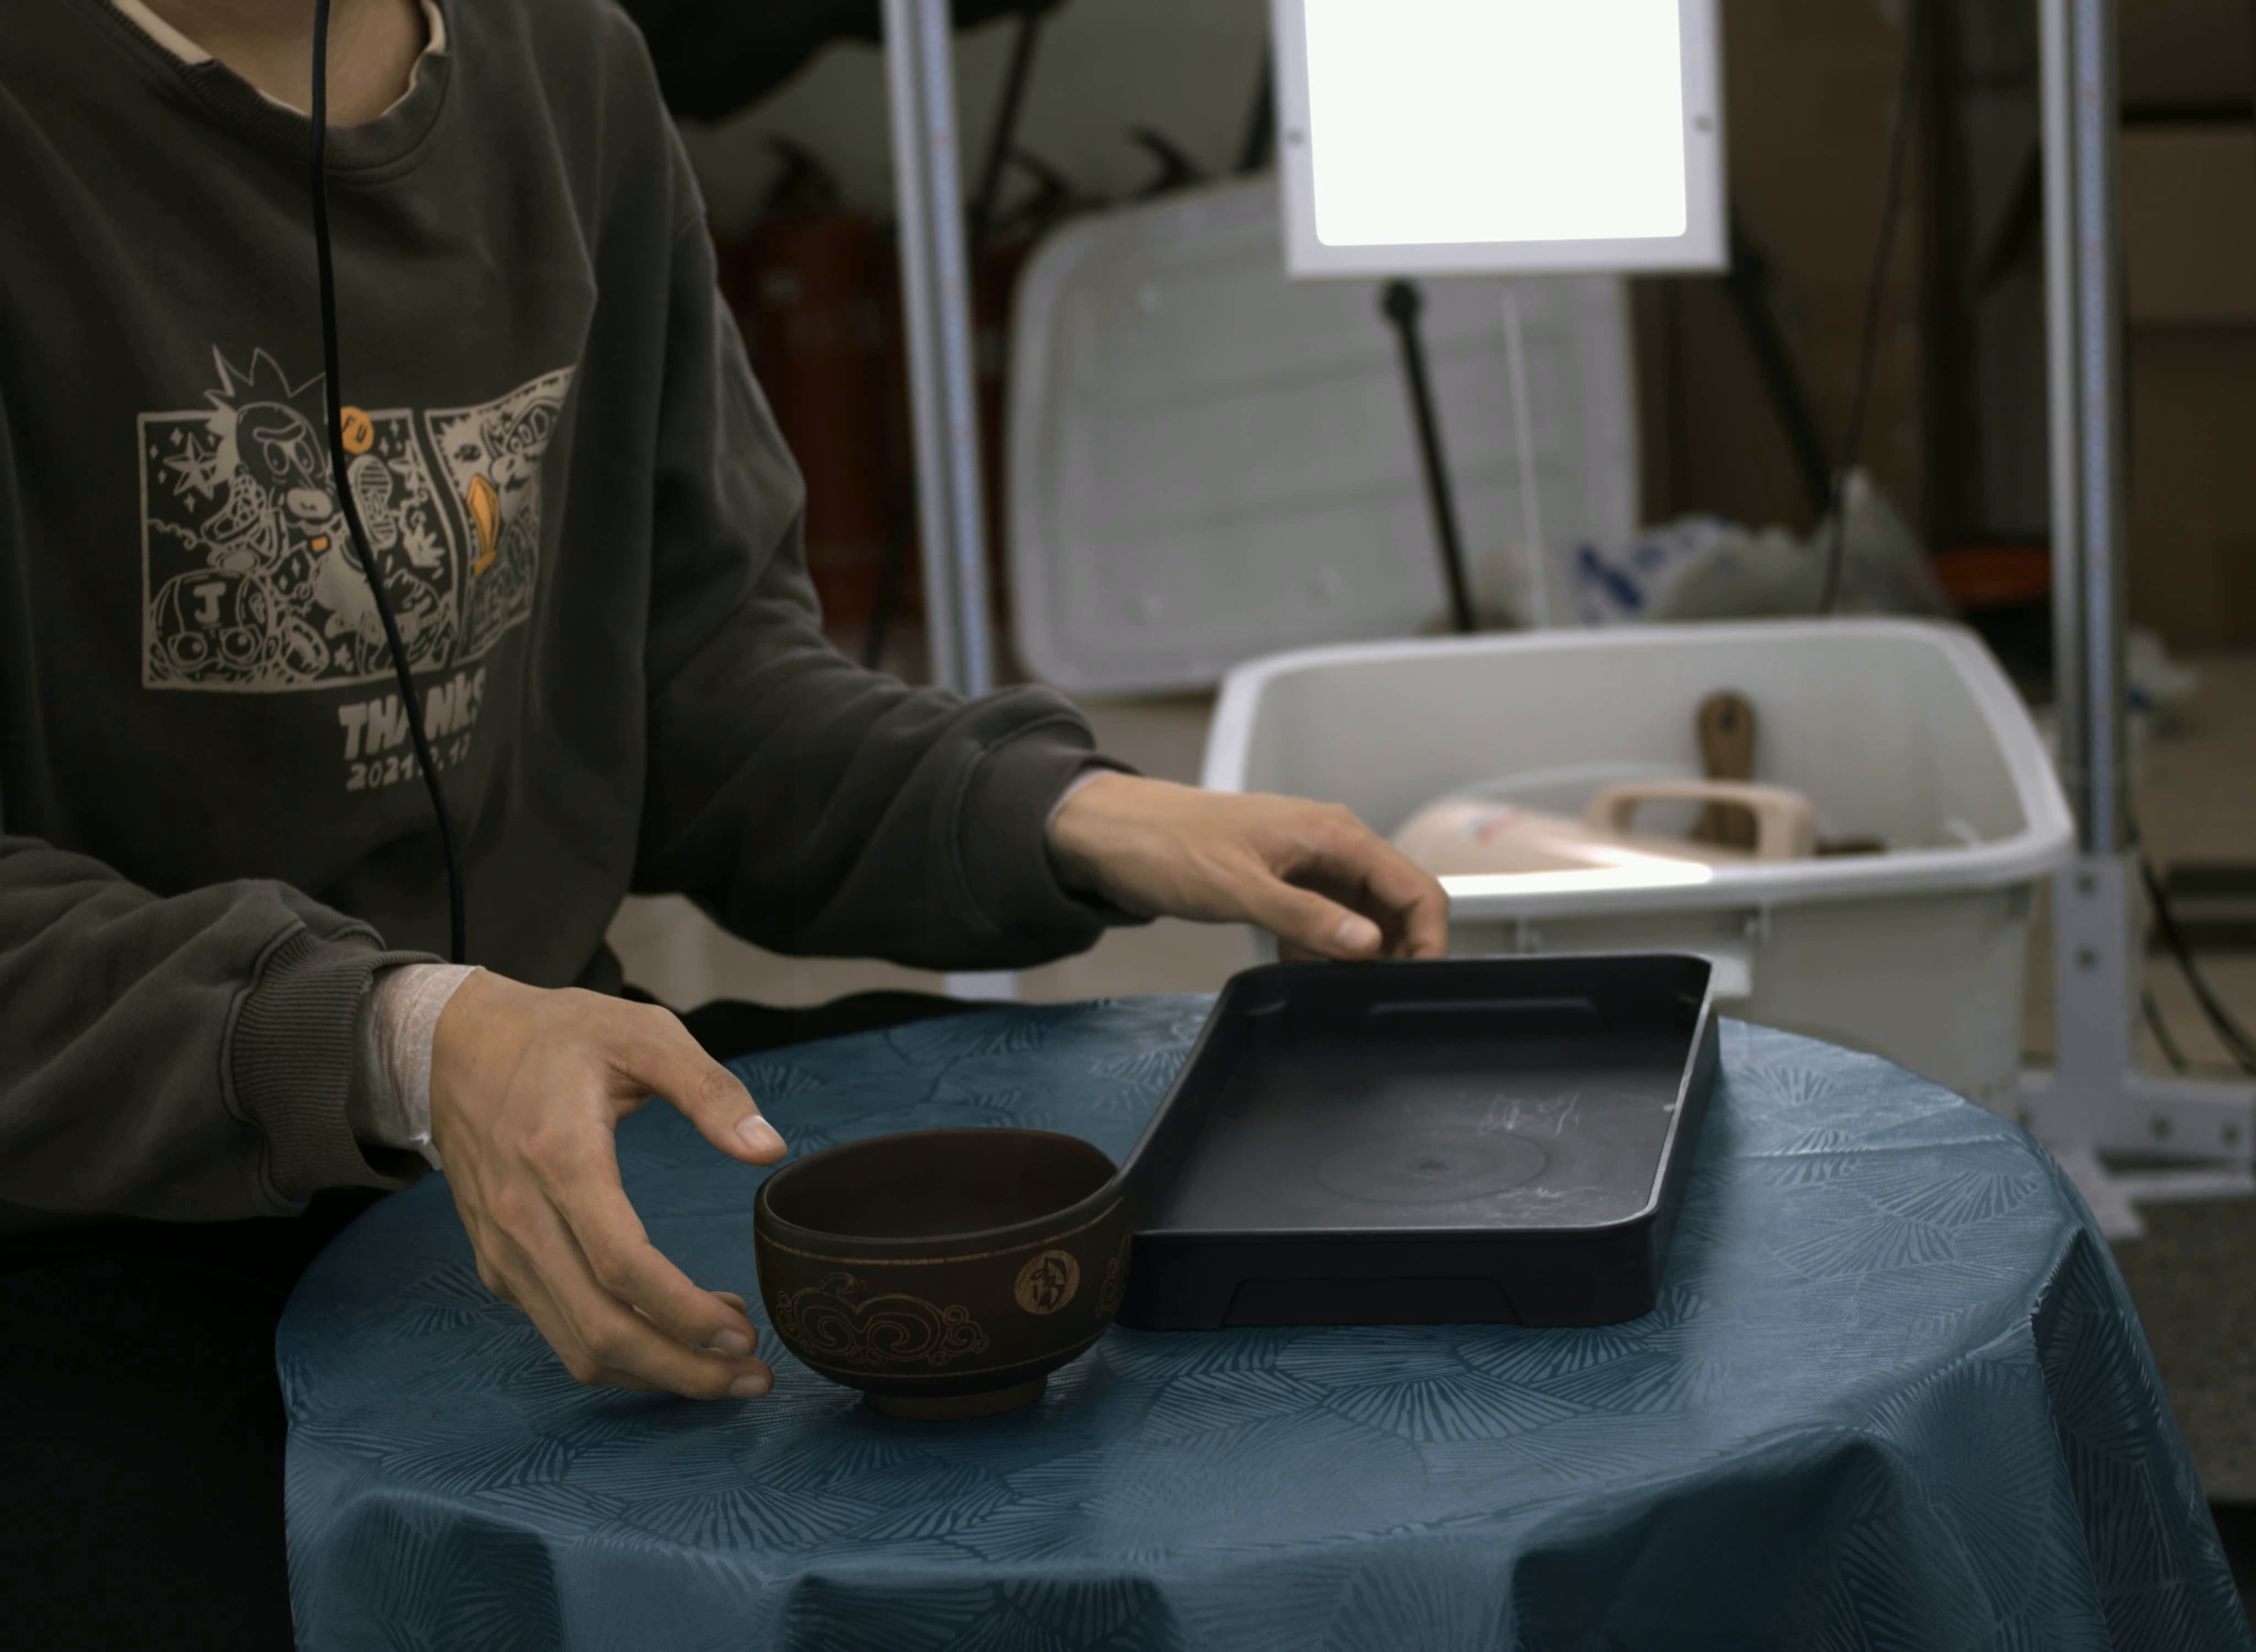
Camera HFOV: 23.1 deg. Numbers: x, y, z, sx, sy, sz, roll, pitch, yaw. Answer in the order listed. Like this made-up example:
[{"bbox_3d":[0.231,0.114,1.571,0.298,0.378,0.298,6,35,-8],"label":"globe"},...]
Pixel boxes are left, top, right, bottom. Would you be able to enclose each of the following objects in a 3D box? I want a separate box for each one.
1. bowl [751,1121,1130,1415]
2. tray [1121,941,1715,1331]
[{"bbox_3d":[-0.056,0.141,1.709,0.118,0.070,0.118,-6,13,0],"label":"bowl"},{"bbox_3d":[0.105,0.102,1.883,0.185,0.037,0.315,-3,14,10],"label":"tray"}]
